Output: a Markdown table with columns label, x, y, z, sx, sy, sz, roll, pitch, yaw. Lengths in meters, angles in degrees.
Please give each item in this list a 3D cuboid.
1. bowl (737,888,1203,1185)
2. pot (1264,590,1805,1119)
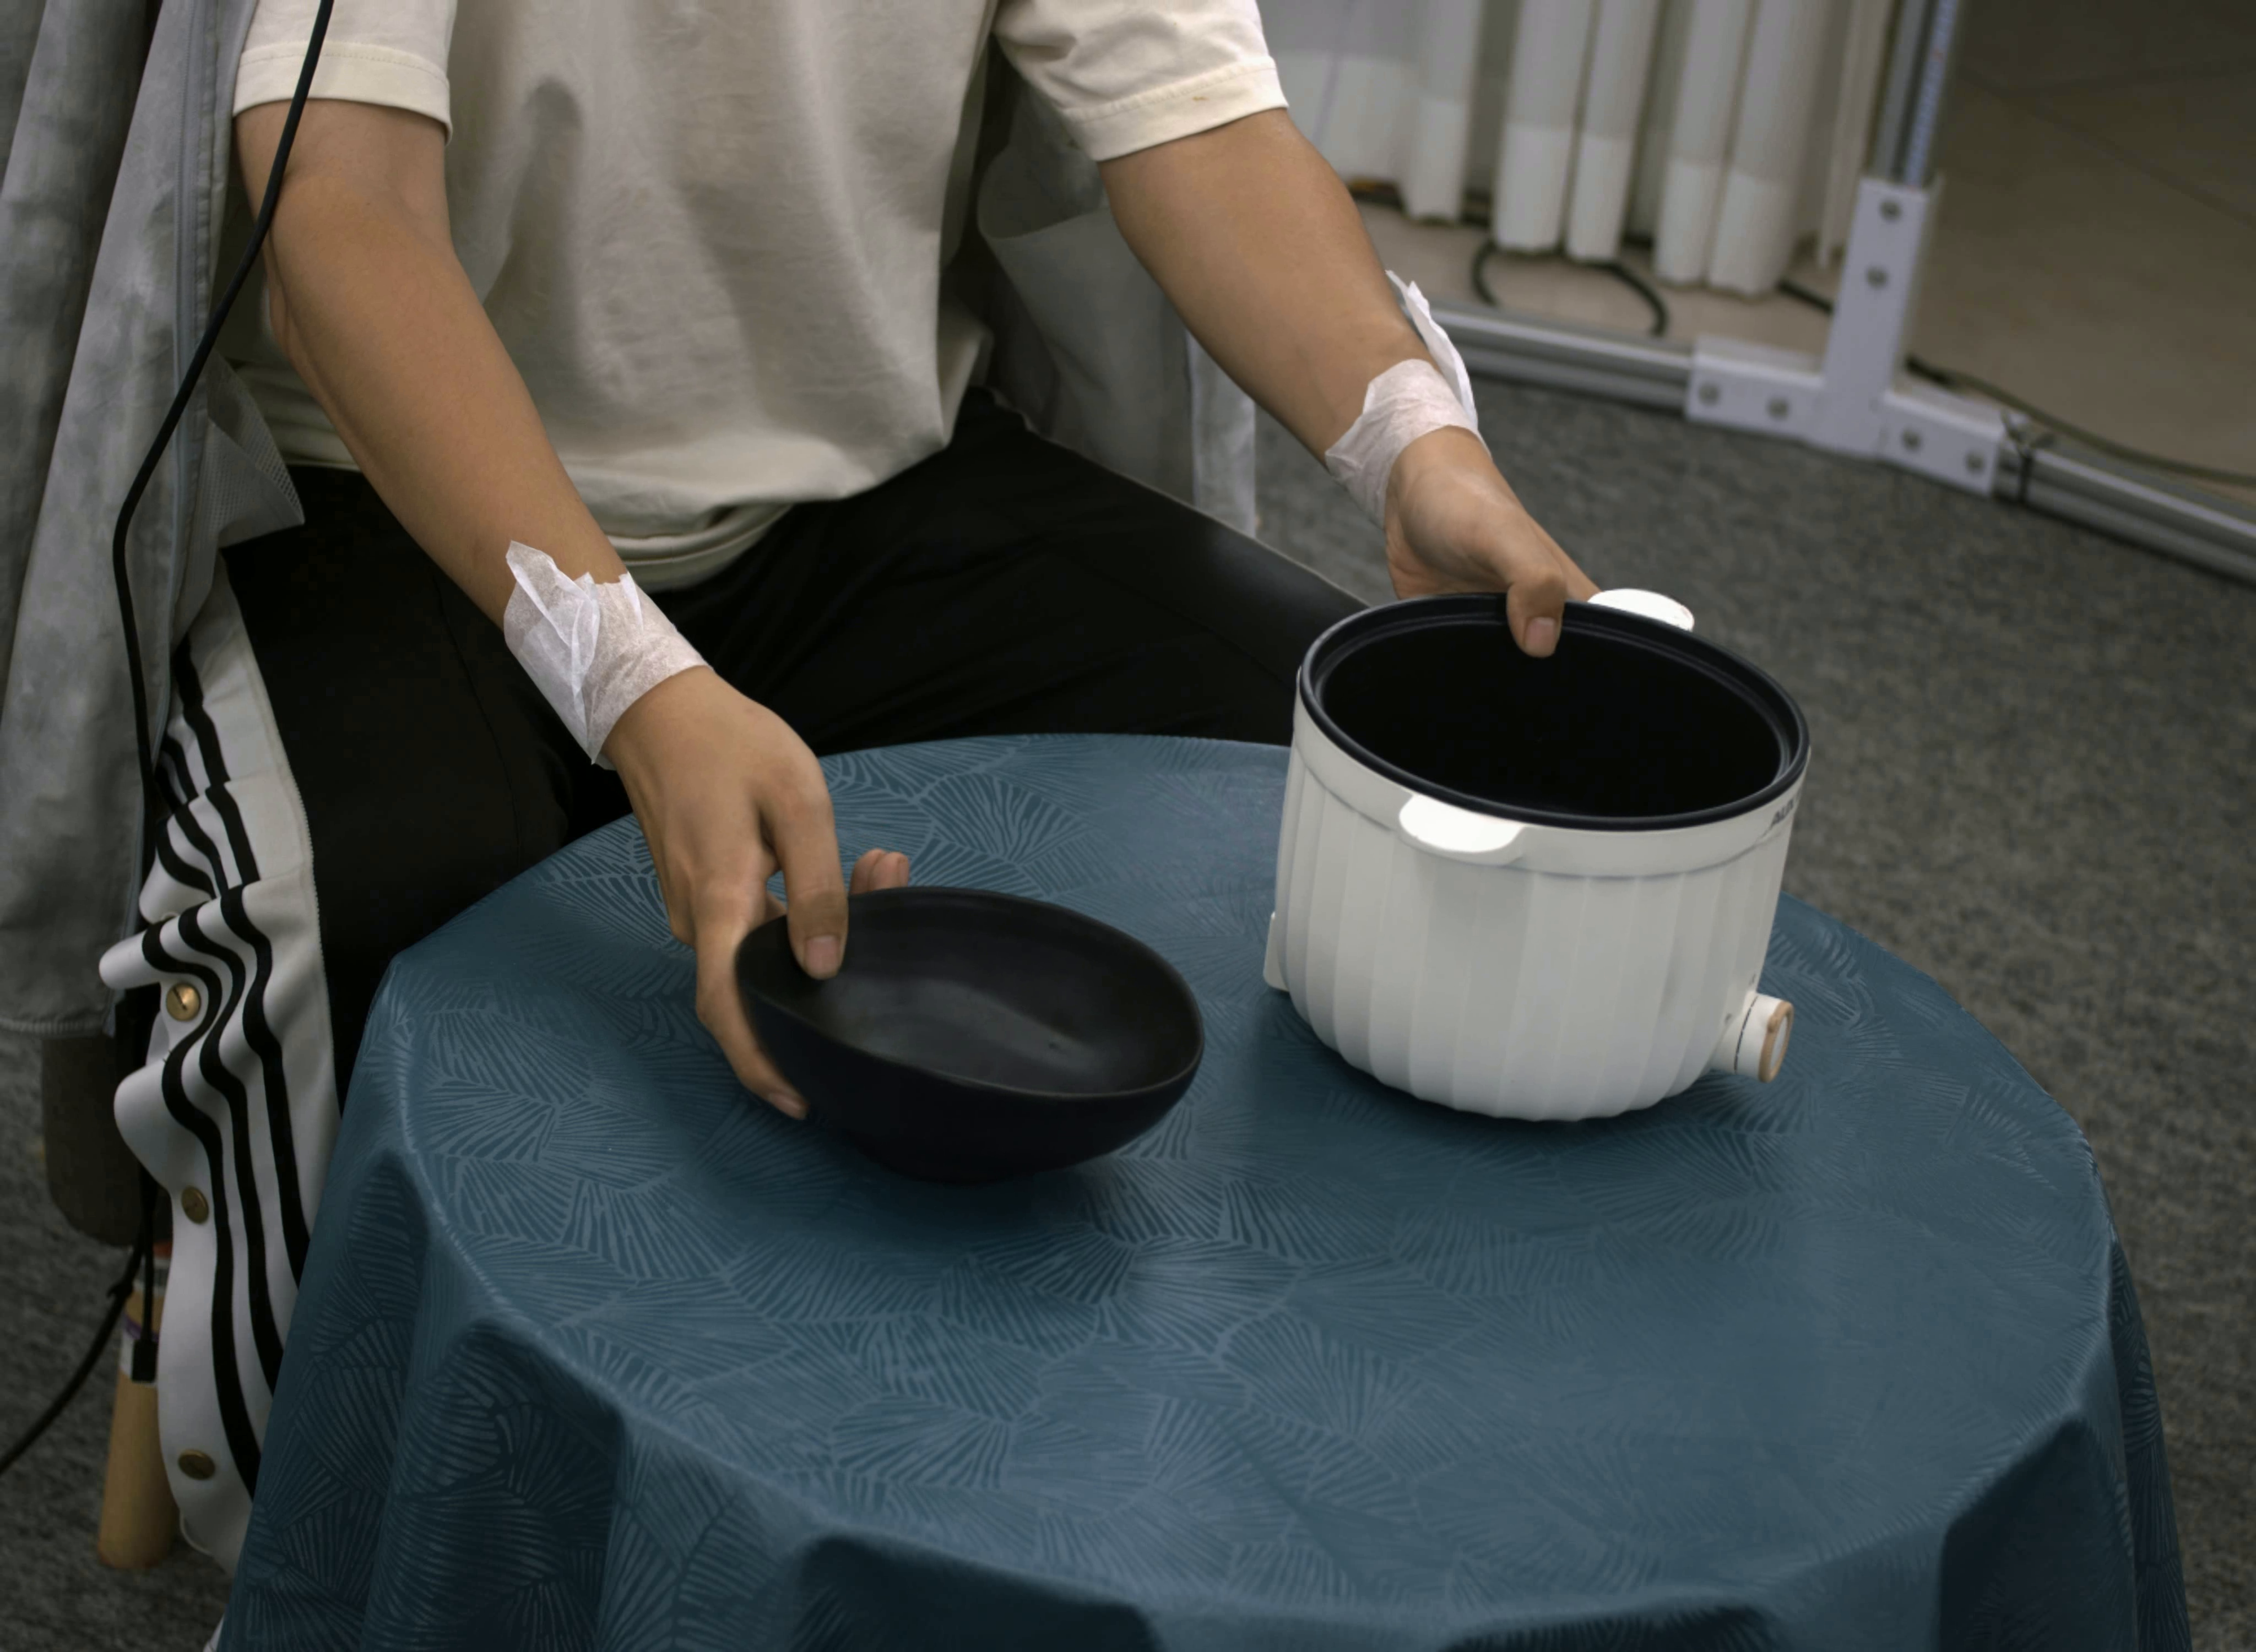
| label | x | y | z | sx | sy | sz | roll | pitch | yaw |
| --- | --- | --- | --- | --- | --- | --- | --- | --- | --- |
| bowl | -0.058 | 0.079 | 1.807 | 0.171 | 0.066 | 0.137 | 20 | 27 | 24 |
| pot | 0.148 | 0.016 | 1.897 | 0.191 | 0.142 | 0.240 | 12 | 28 | 19 |
